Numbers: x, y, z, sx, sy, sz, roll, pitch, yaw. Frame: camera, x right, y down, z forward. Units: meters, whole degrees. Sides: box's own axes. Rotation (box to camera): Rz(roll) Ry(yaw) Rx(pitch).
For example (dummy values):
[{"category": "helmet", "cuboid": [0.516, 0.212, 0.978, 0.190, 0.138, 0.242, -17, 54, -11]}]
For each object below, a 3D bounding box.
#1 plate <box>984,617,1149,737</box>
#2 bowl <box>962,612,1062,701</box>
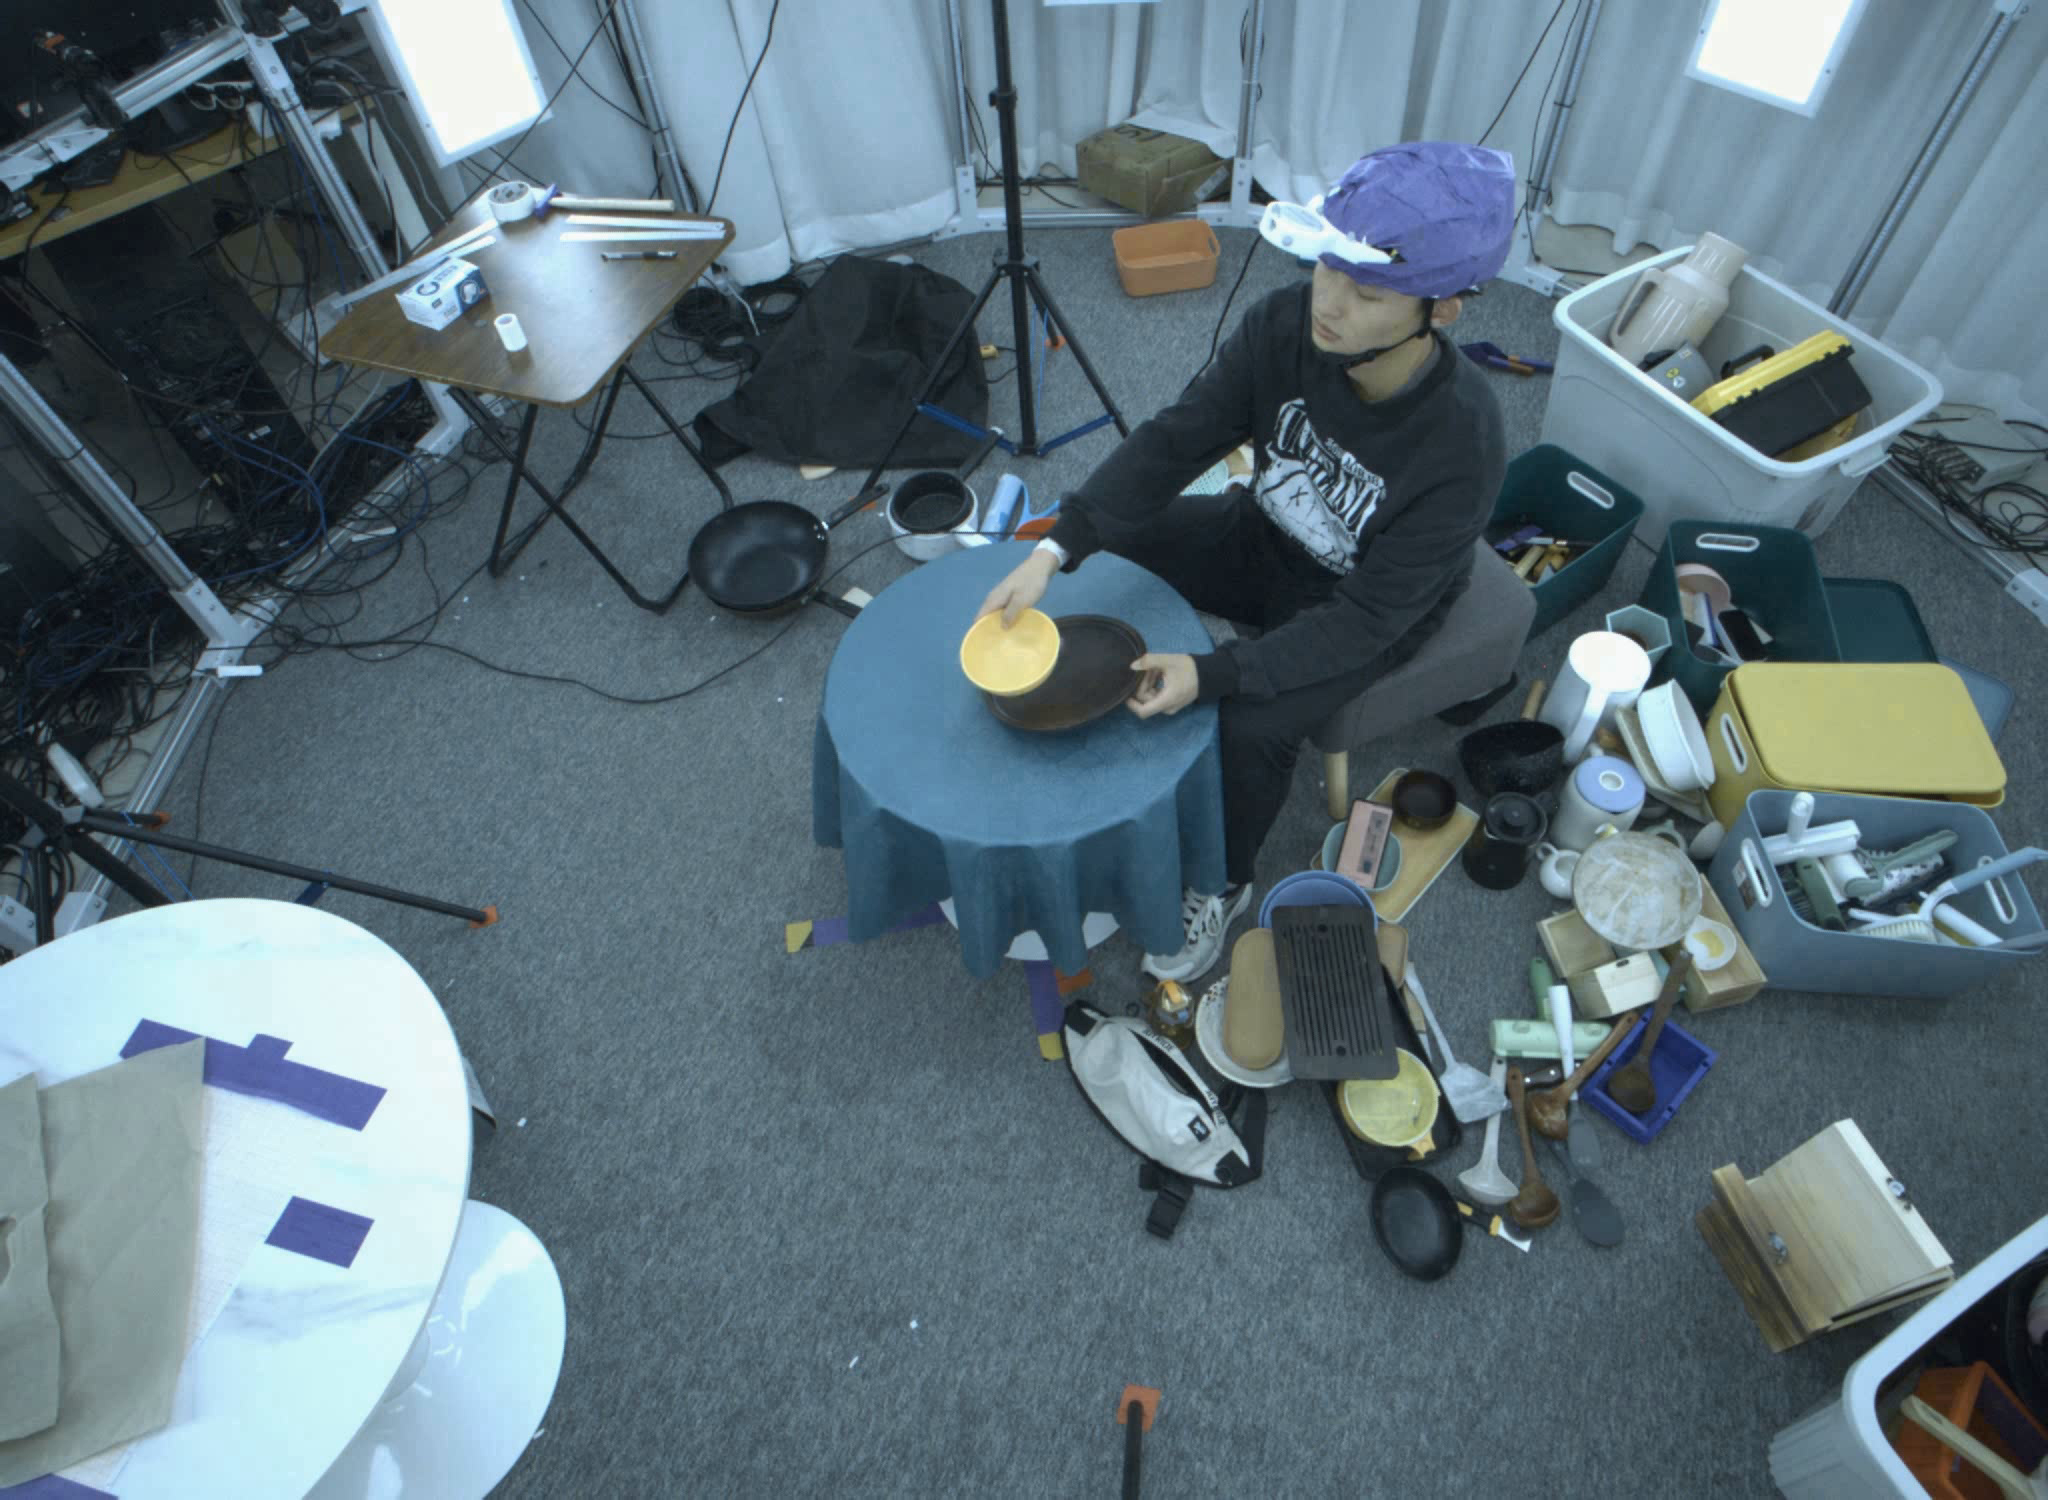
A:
[{"category": "plate", "cuboid": [0.062, -0.109, 1.823, 0.253, 0.029, 0.252, -10, 42, 11]}, {"category": "bowl", "cuboid": [-0.013, -0.123, 1.767, 0.144, 0.061, 0.144, -3, 61, 7]}]
